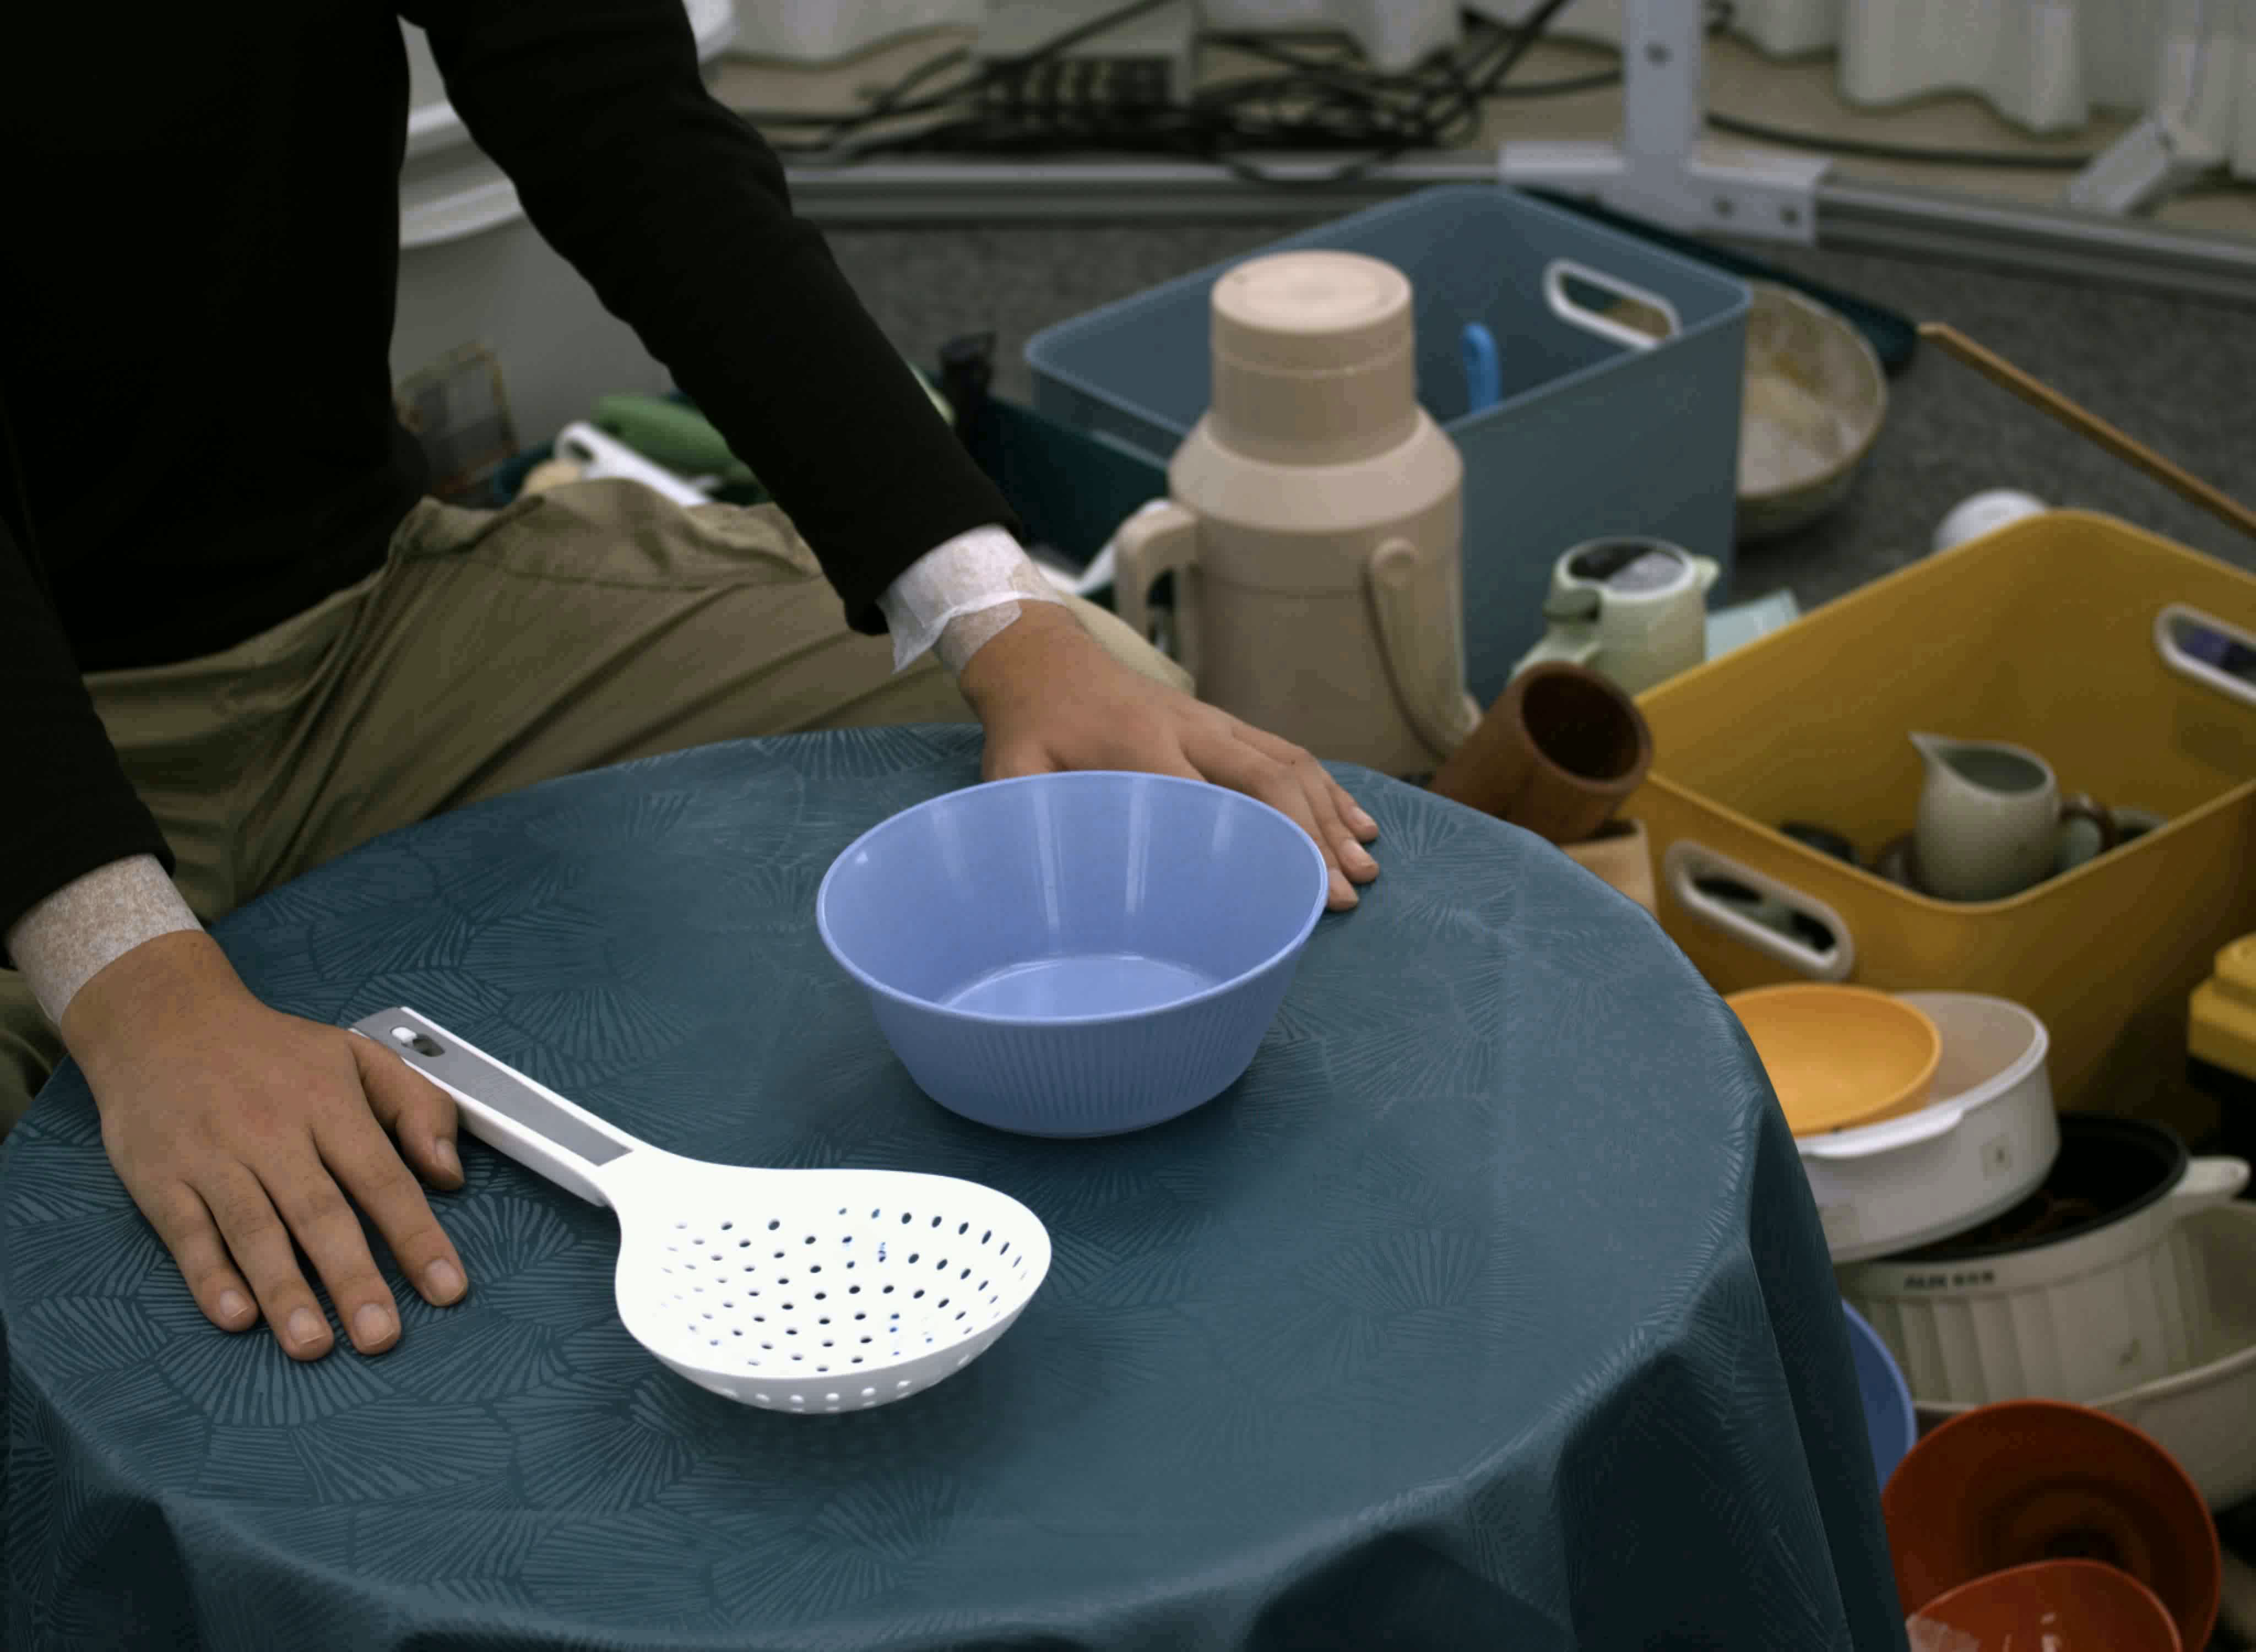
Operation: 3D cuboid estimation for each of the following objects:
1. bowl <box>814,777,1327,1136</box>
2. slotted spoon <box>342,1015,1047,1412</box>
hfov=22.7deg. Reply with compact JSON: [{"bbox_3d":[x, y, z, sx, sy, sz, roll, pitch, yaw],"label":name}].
[{"bbox_3d":[-0.018,0.050,1.927,0.175,0.069,0.178,-3,26,2],"label":"bowl"},{"bbox_3d":[-0.158,0.119,1.834,0.137,0.045,0.350,-22,32,-33],"label":"slotted spoon"}]
